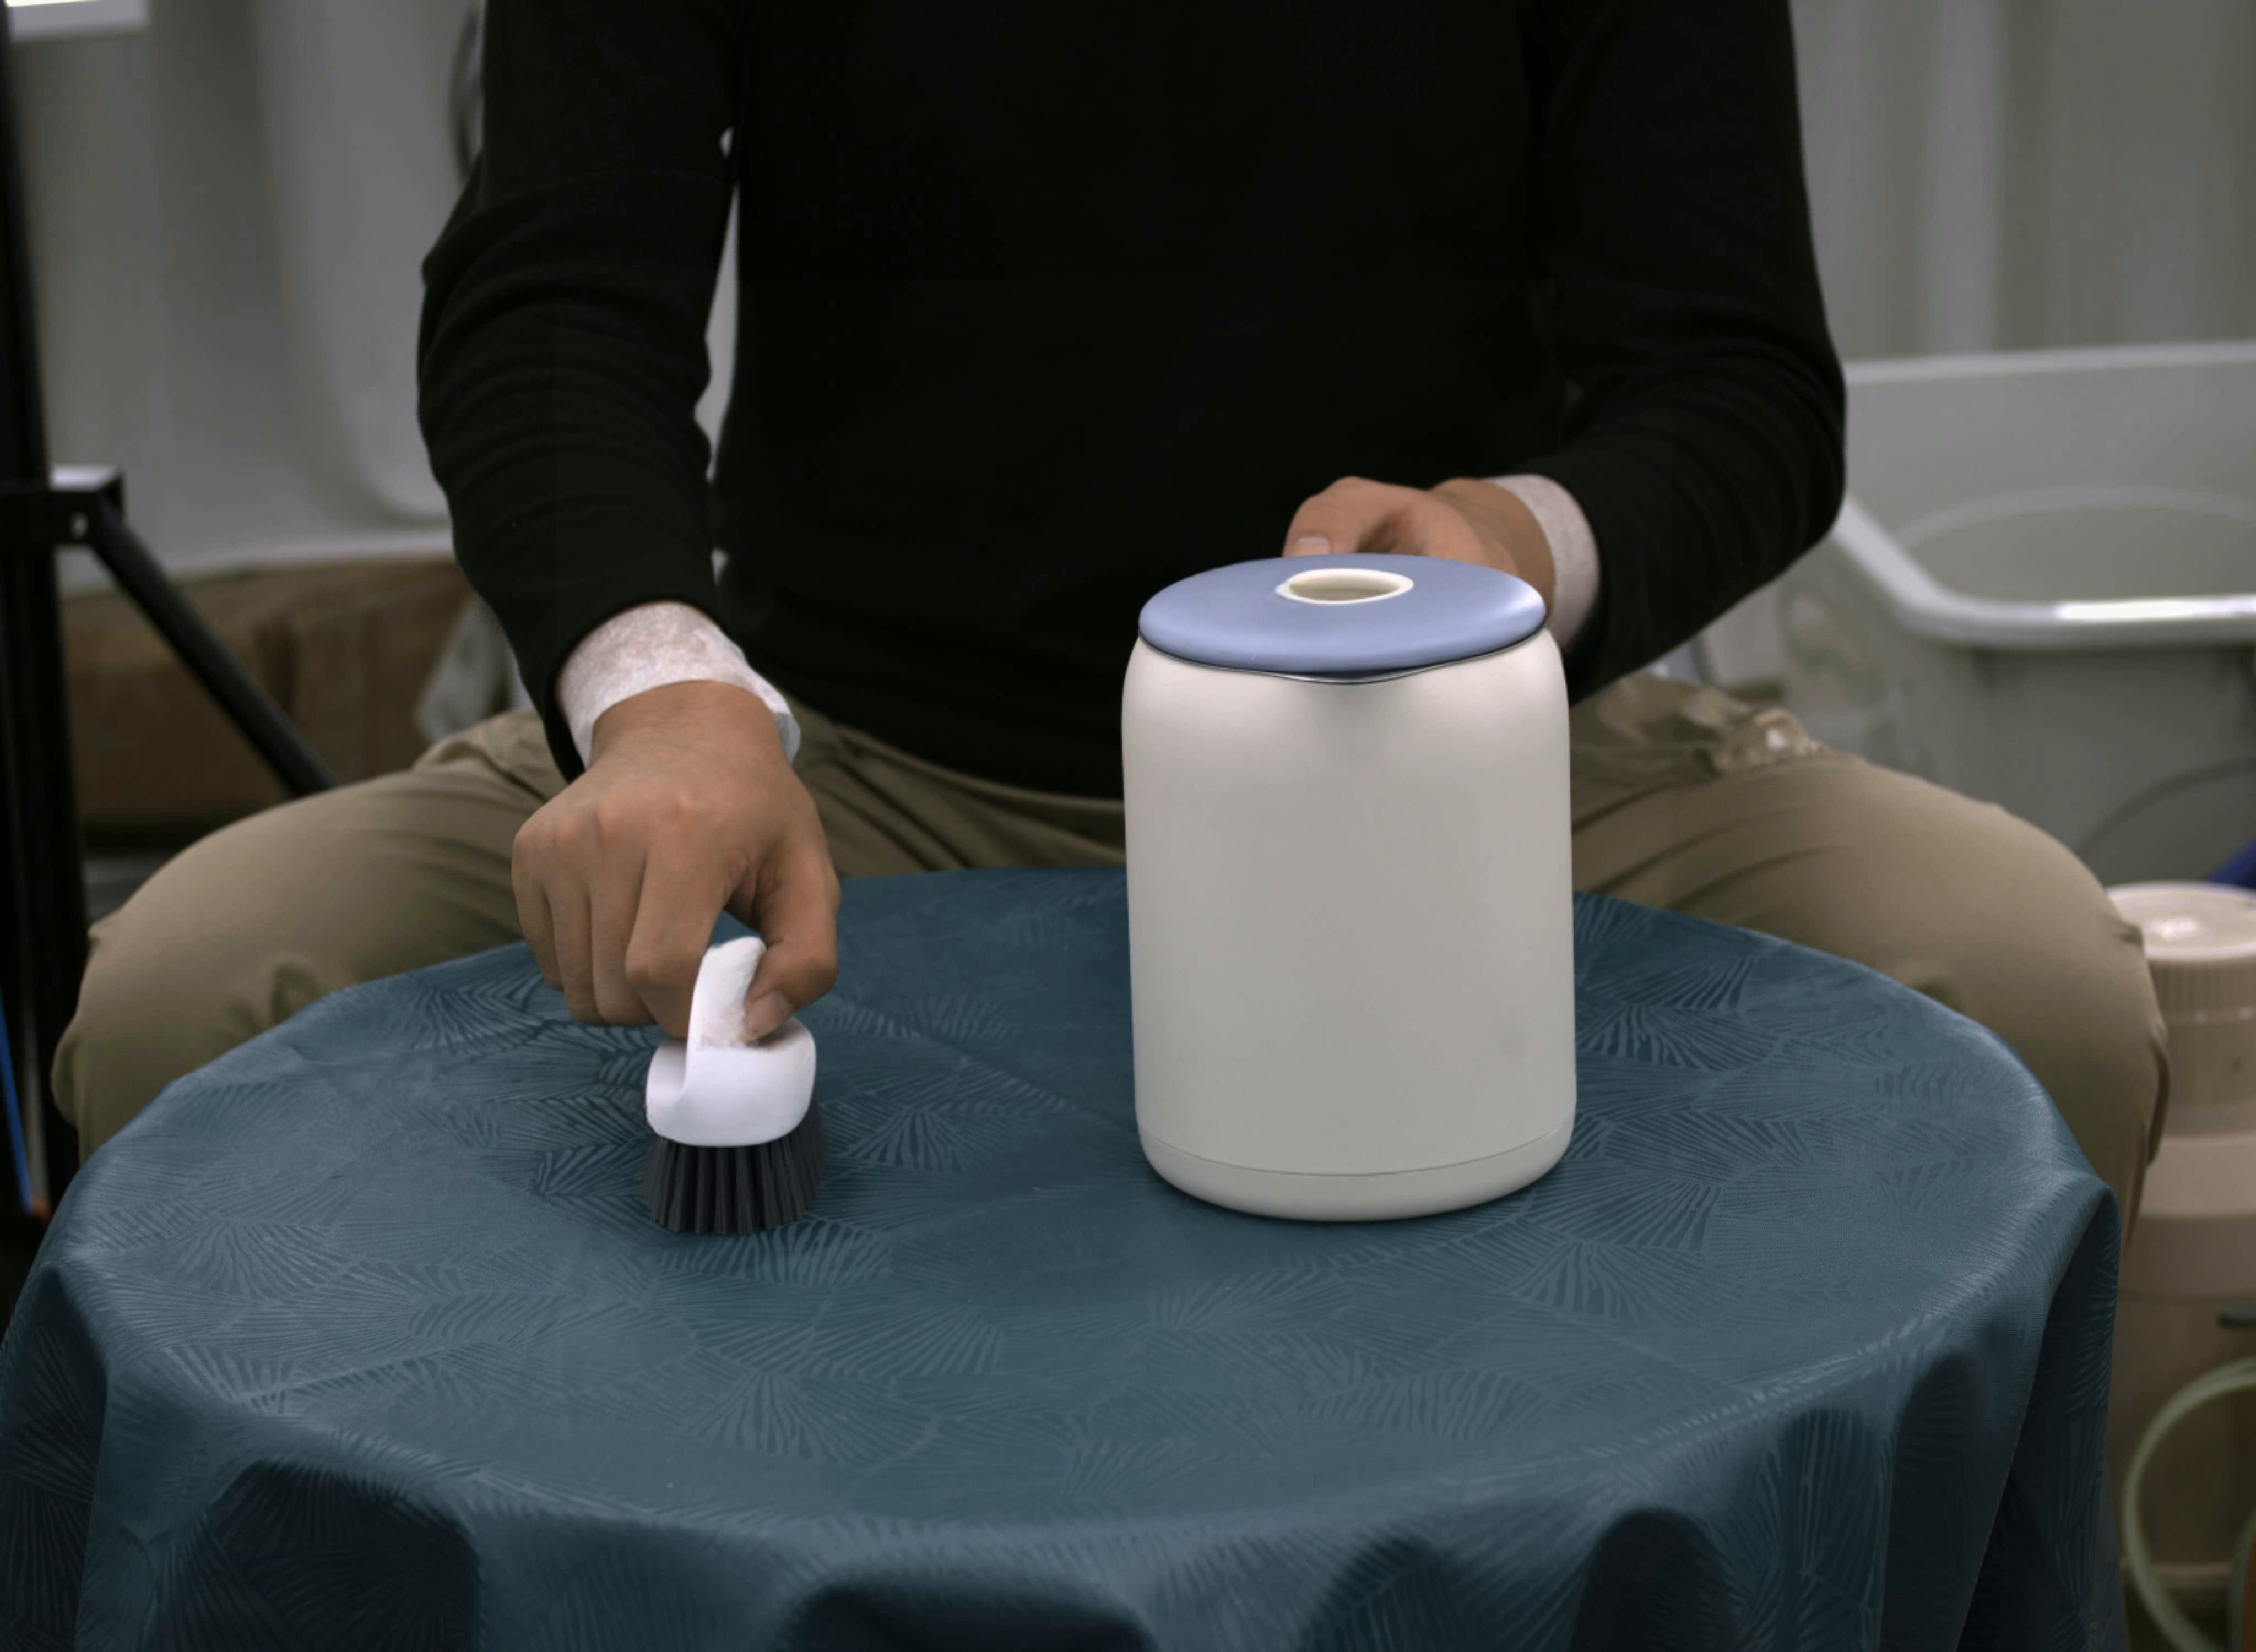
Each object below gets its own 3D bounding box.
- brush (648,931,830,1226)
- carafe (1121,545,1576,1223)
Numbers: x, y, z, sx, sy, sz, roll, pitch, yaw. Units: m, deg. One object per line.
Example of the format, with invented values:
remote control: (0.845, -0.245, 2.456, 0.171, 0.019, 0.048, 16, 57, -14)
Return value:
brush: (-0.116, 0.070, 1.576, 0.050, 0.072, 0.099, -2, 15, 5)
carafe: (0.064, 0.010, 1.580, 0.131, 0.182, 0.192, -2, 14, -1)
